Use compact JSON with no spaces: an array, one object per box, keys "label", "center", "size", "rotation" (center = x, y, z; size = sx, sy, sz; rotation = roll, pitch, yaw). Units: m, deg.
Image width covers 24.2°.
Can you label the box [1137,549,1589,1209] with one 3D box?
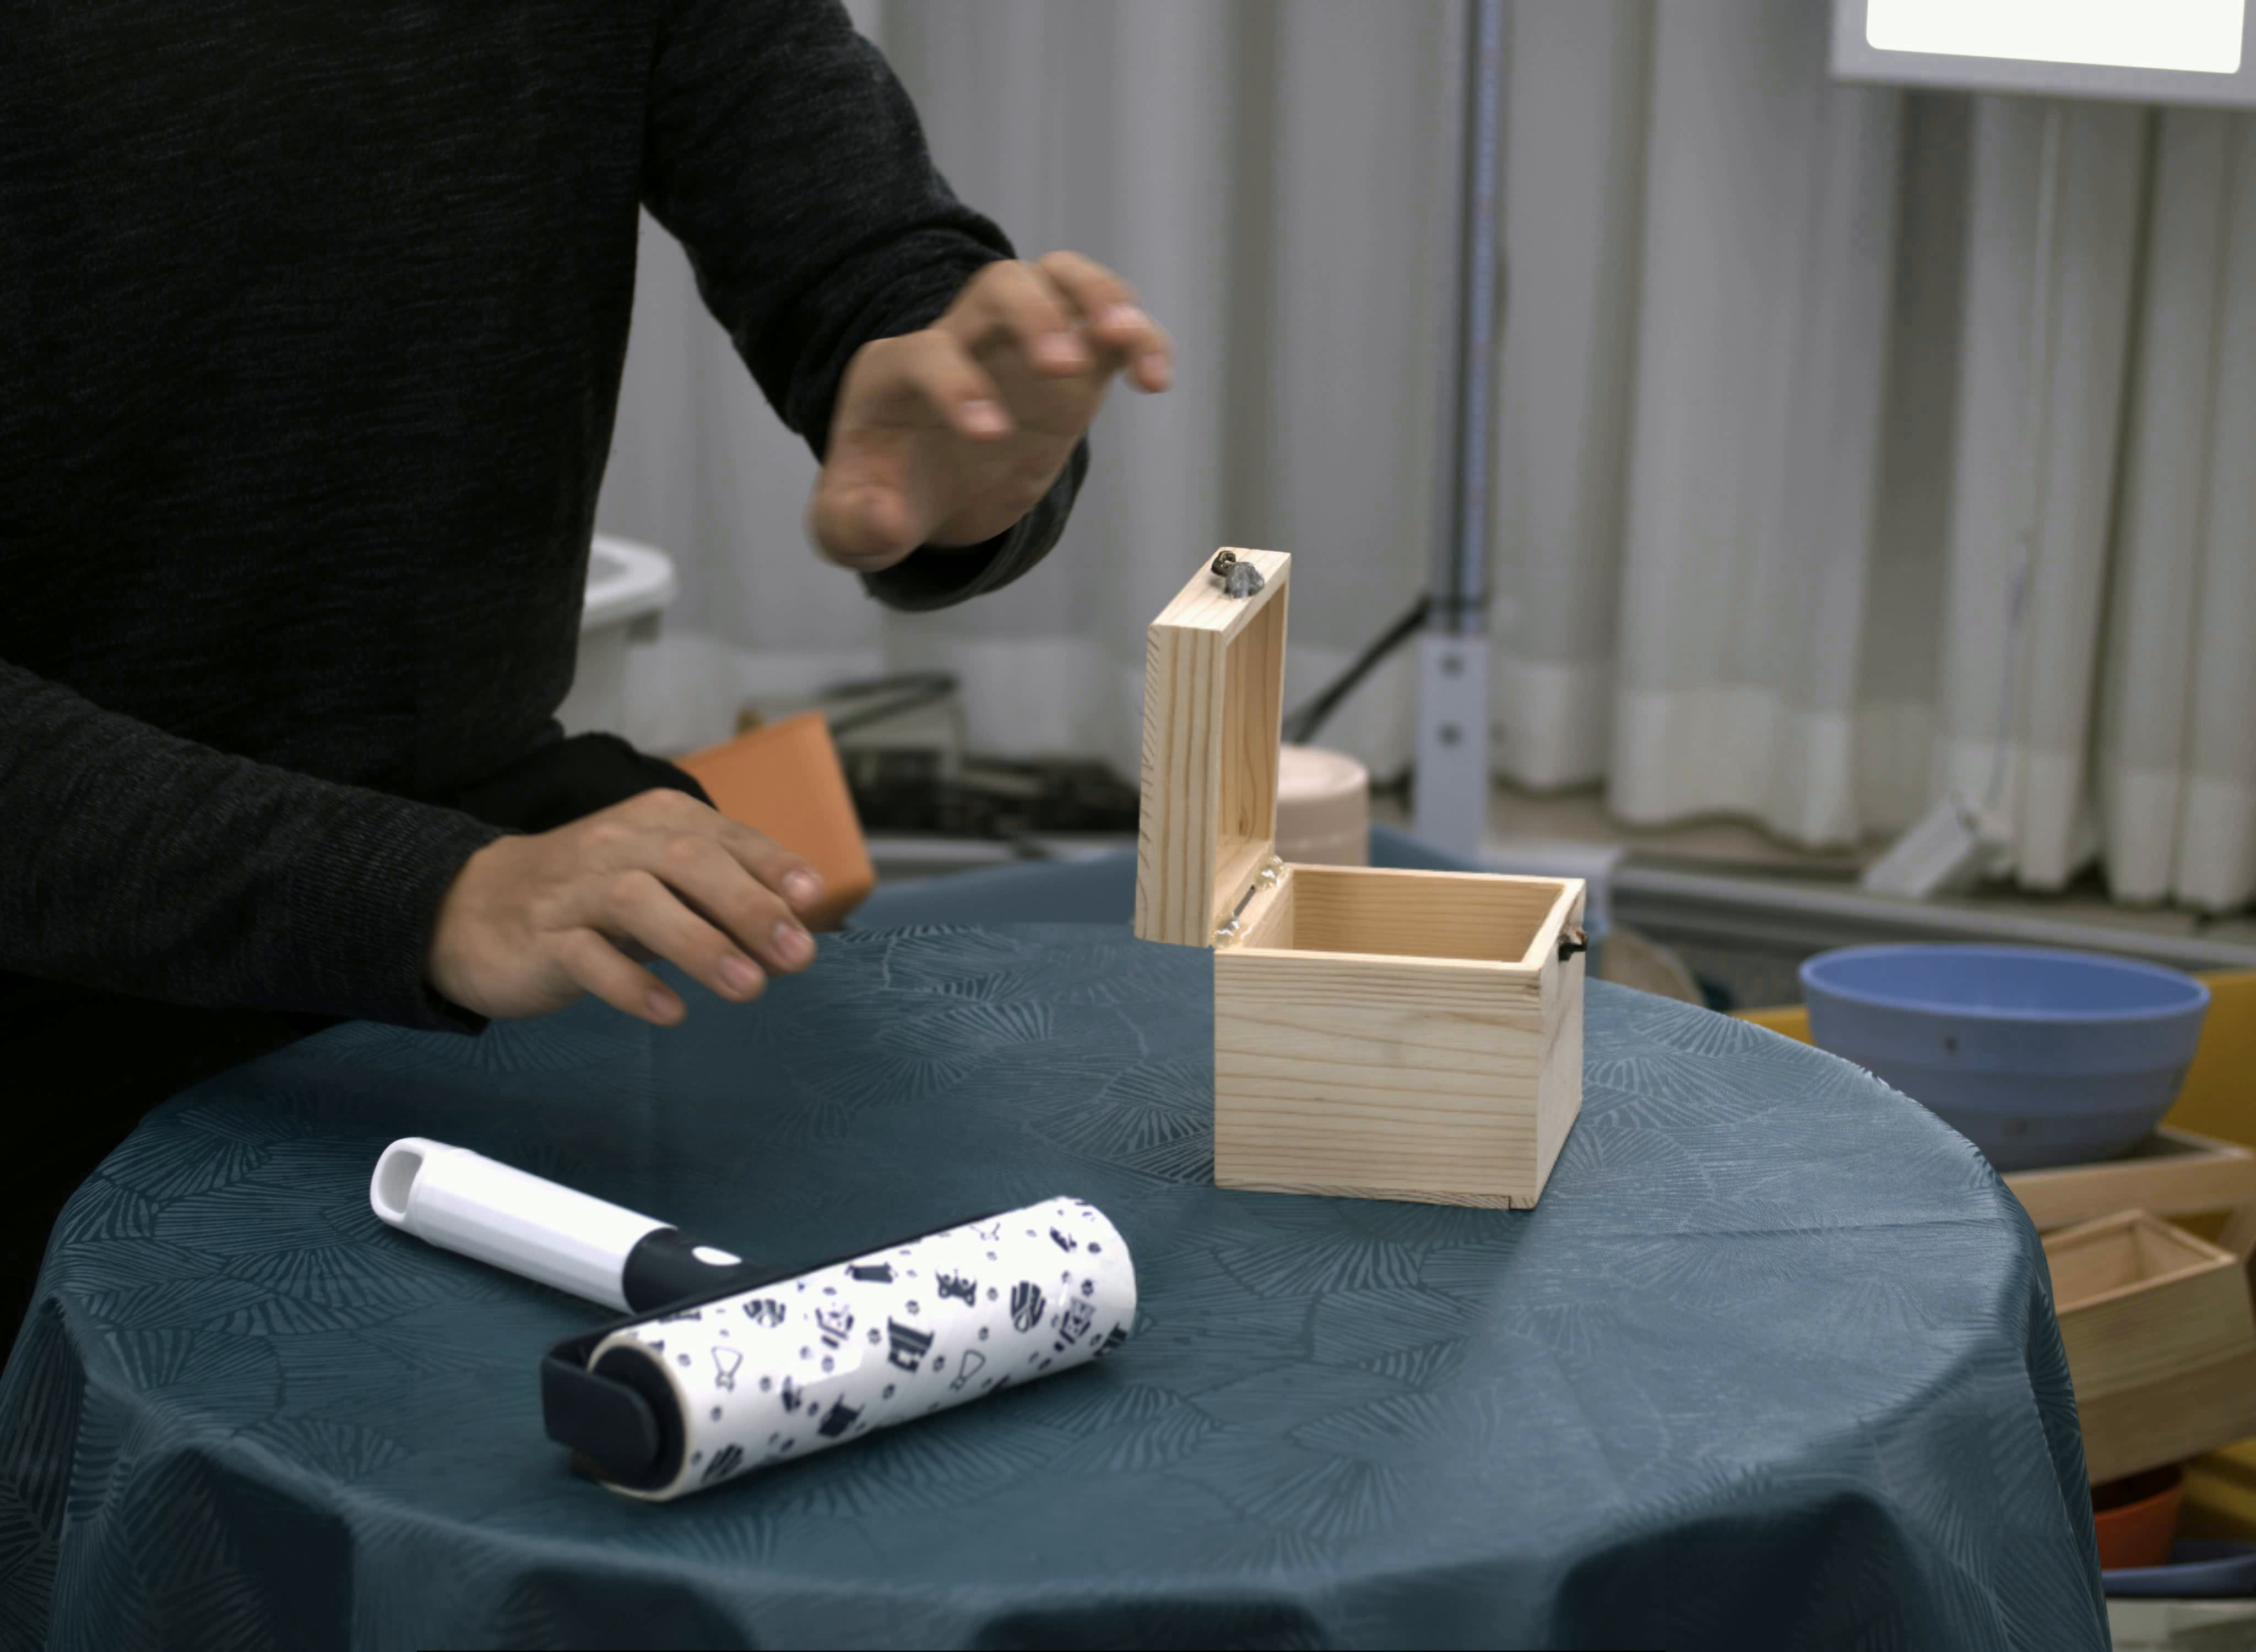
[{"label":"box","center":[0.077,0.014,1.637],"size":[0.133,0.186,0.102],"rotation":[3,16,11]}]

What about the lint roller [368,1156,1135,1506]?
[{"label":"lint roller","center":[-0.141,0.123,1.497],"size":[0.177,0.051,0.244],"rotation":[-15,21,-42]}]
